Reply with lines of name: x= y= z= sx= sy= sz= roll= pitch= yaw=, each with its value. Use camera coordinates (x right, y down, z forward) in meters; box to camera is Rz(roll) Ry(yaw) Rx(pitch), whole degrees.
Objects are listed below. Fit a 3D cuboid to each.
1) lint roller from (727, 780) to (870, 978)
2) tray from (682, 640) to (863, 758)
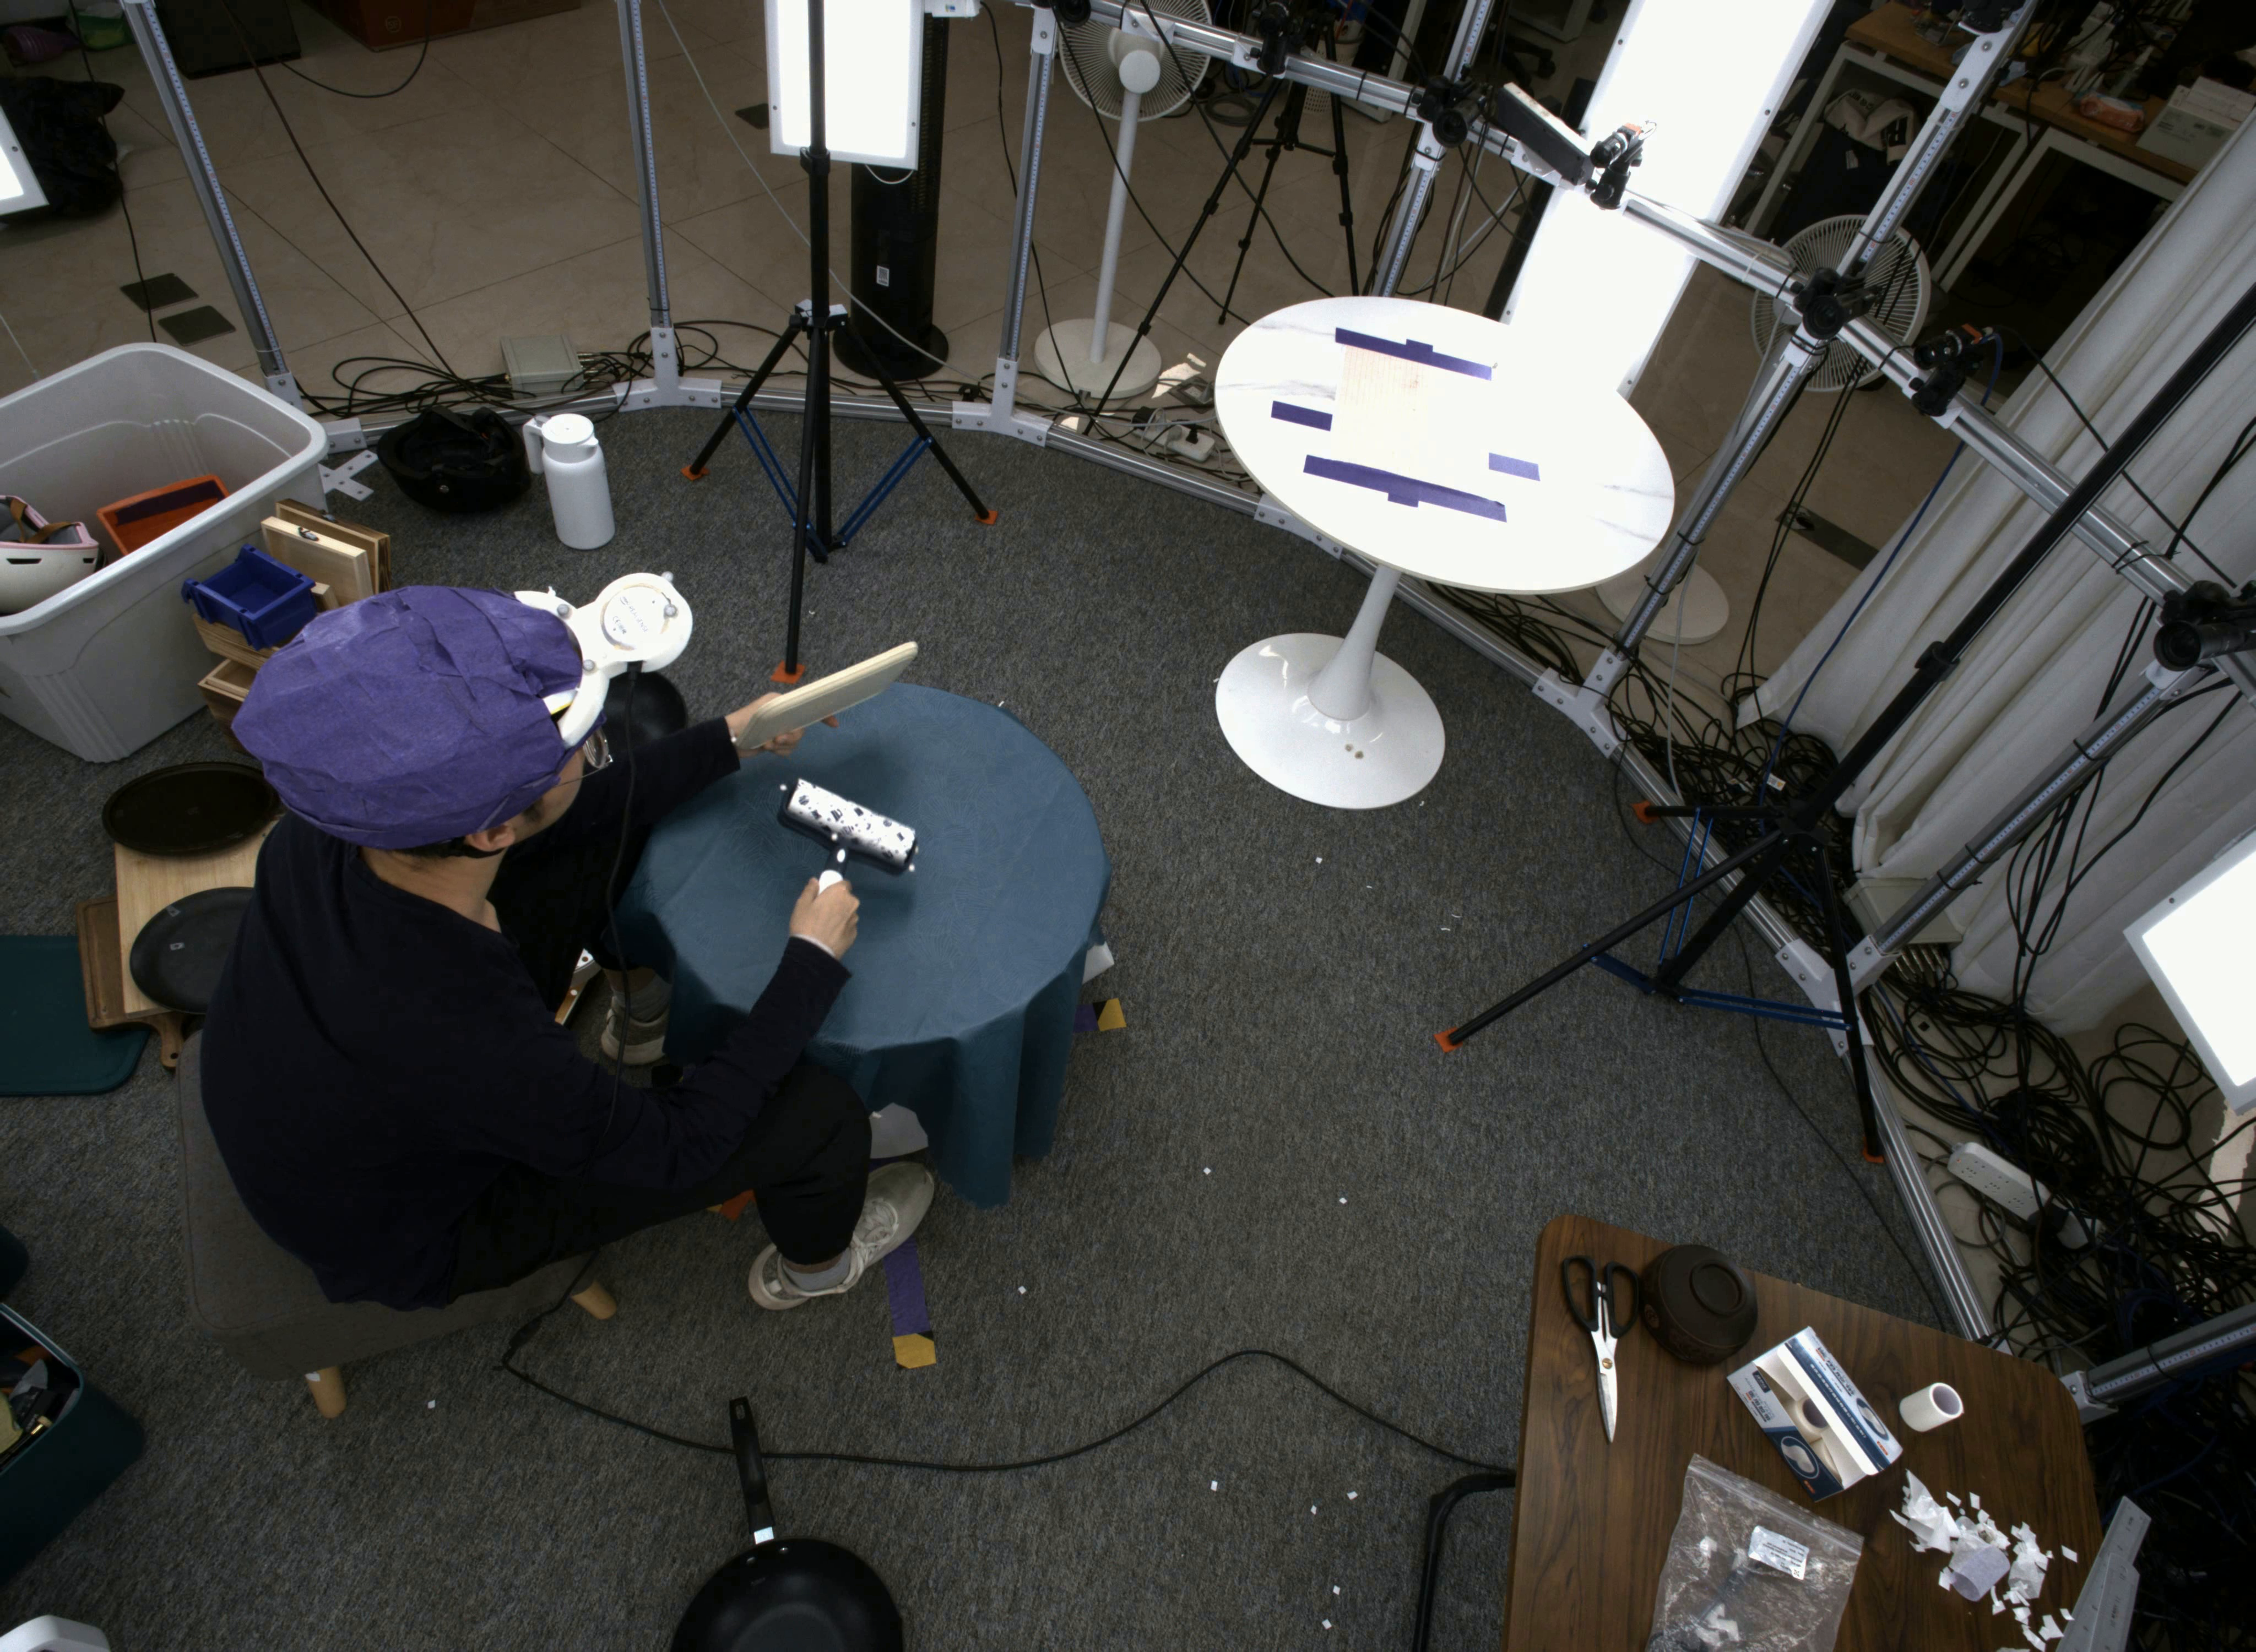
lint roller: x=-0.409 y=0.069 z=1.550 sx=0.180 sy=0.050 sz=0.242 roll=24 pitch=45 yaw=-25
tray: x=-0.452 y=-0.159 z=1.651 sx=0.240 sy=0.169 sz=0.017 roll=-32 pitch=91 yaw=-34
